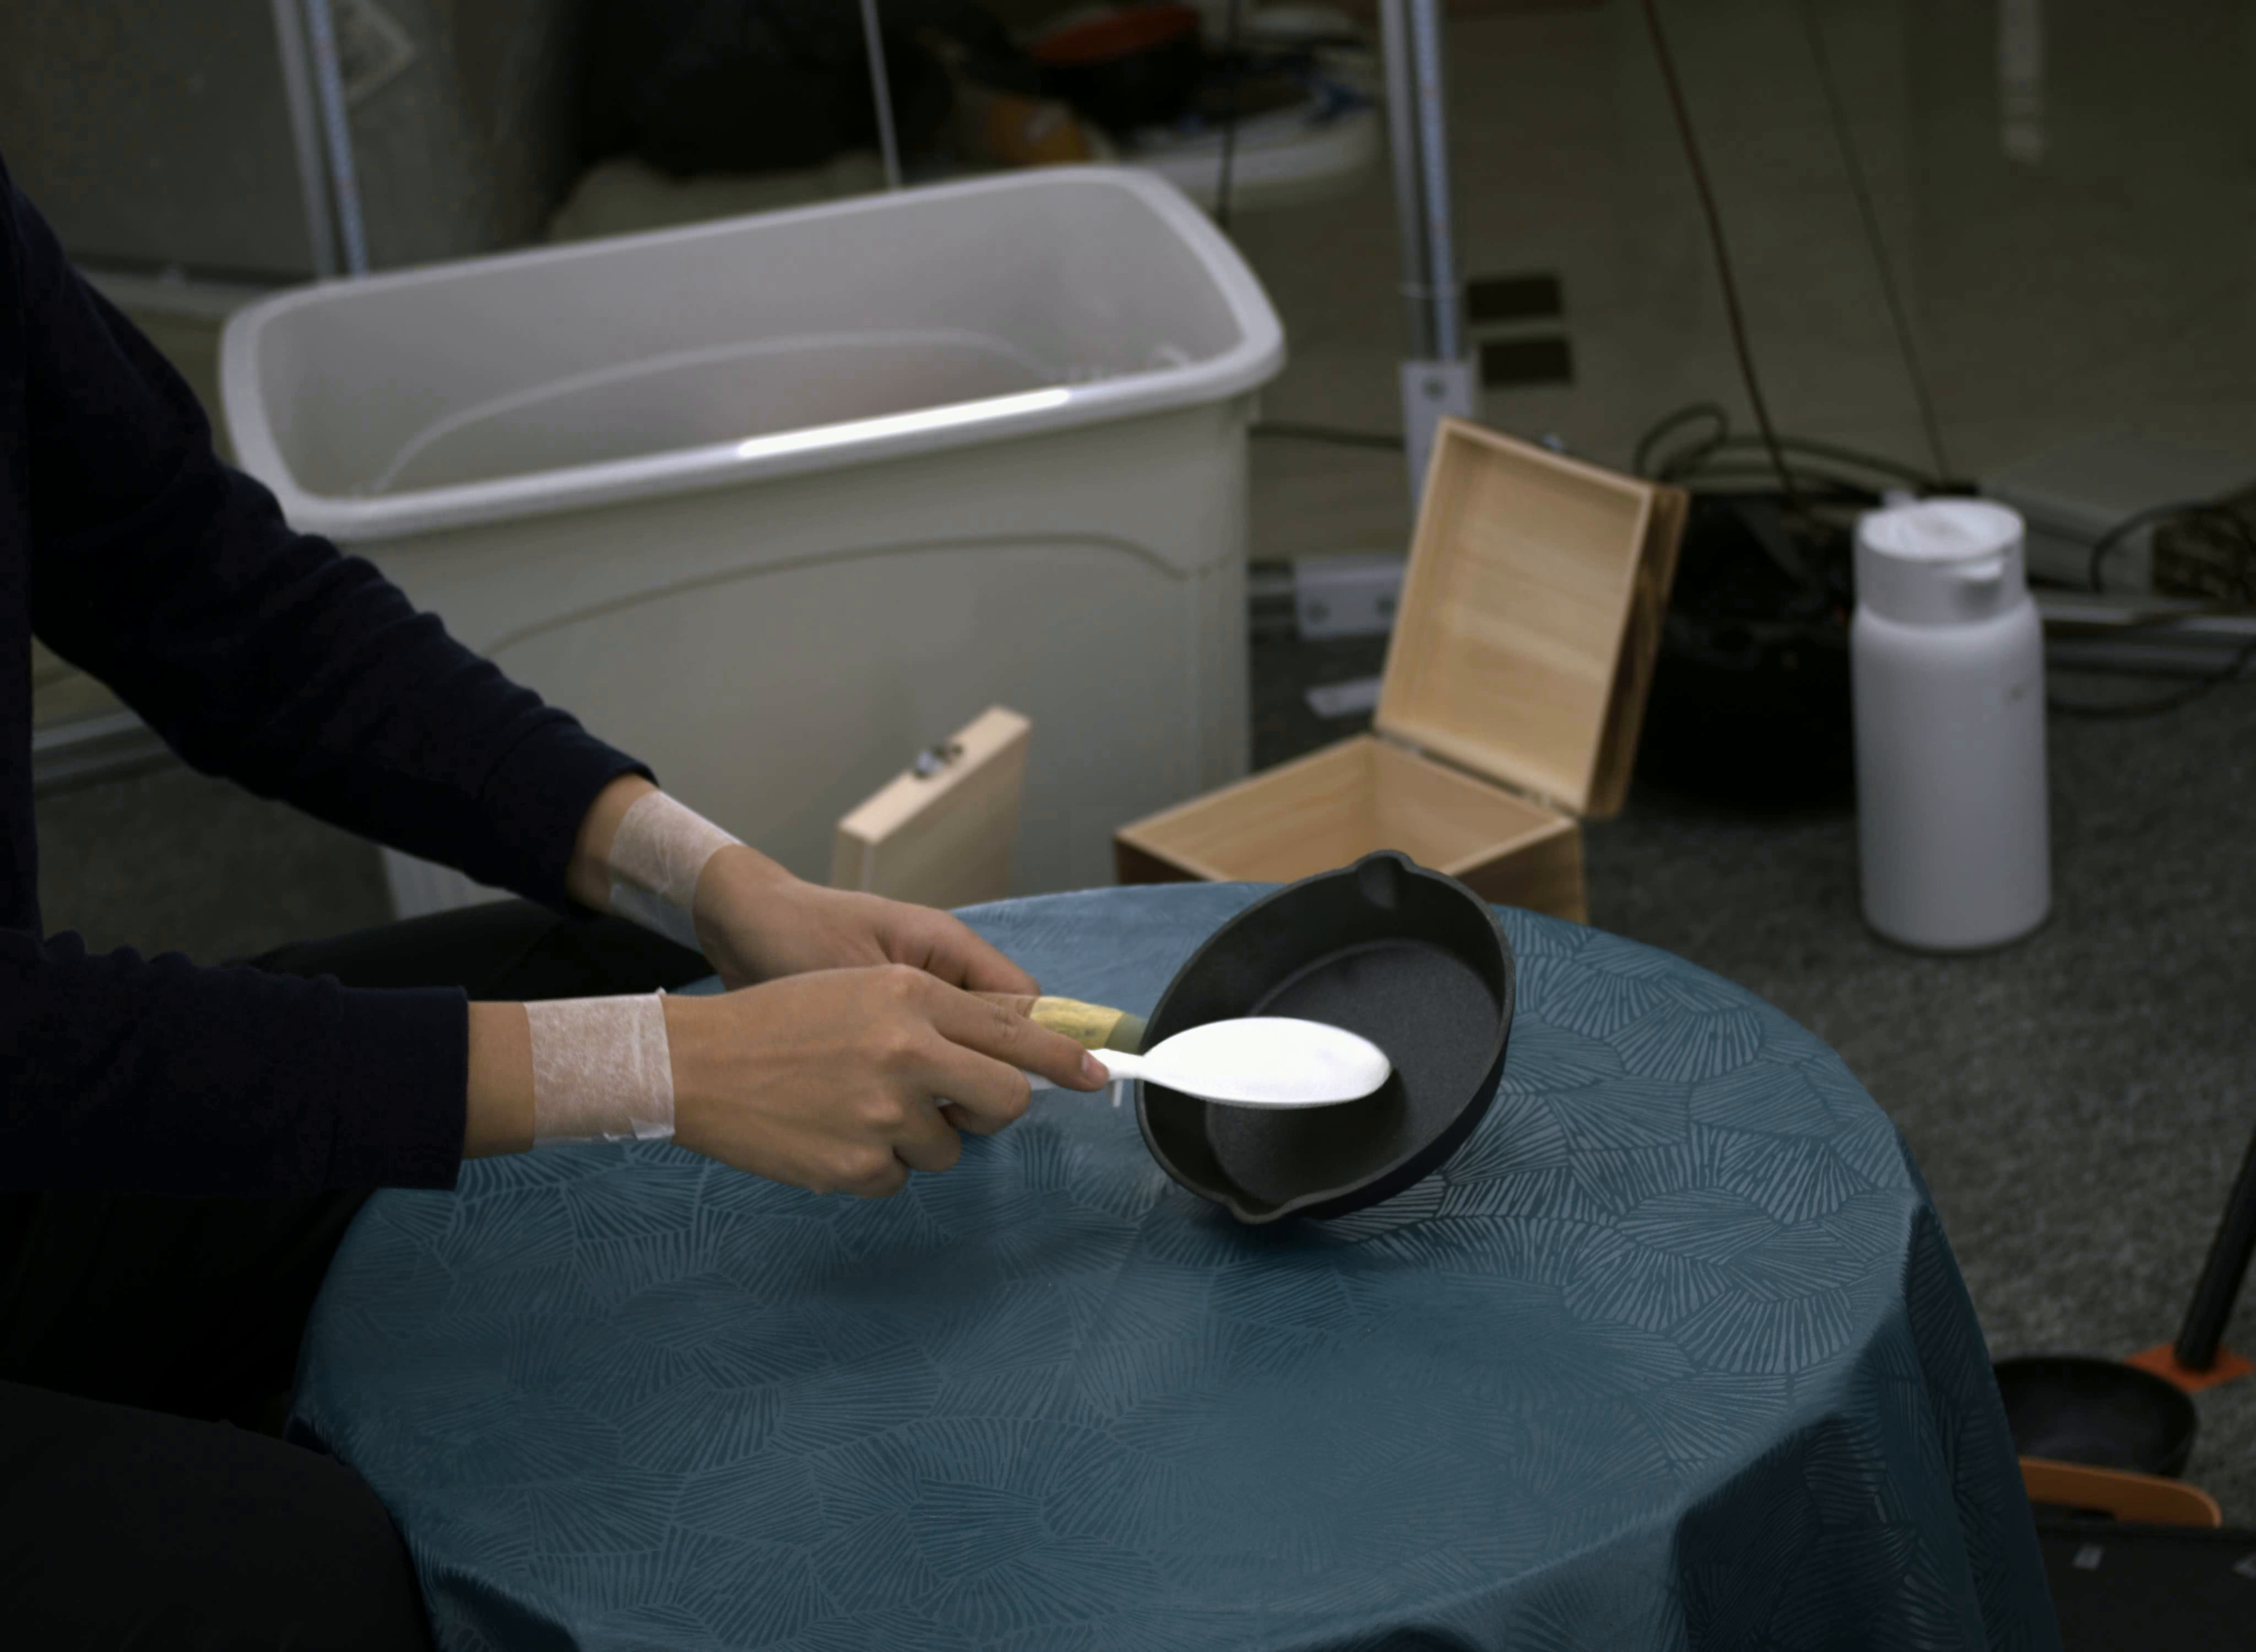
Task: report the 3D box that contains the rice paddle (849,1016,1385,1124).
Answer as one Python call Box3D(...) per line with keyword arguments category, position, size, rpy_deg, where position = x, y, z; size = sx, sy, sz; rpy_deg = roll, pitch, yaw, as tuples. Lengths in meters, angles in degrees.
Box3D(category="rice paddle", position=(-0.001, 0.089, 2.104), size=(0.205, 0.030, 0.068), rpy_deg=(-2, 27, -18))

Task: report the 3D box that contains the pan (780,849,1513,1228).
Box3D(category="pan", position=(0.006, 0.080, 2.174), size=(0.323, 0.050, 0.166), rpy_deg=(3, 57, 33))
